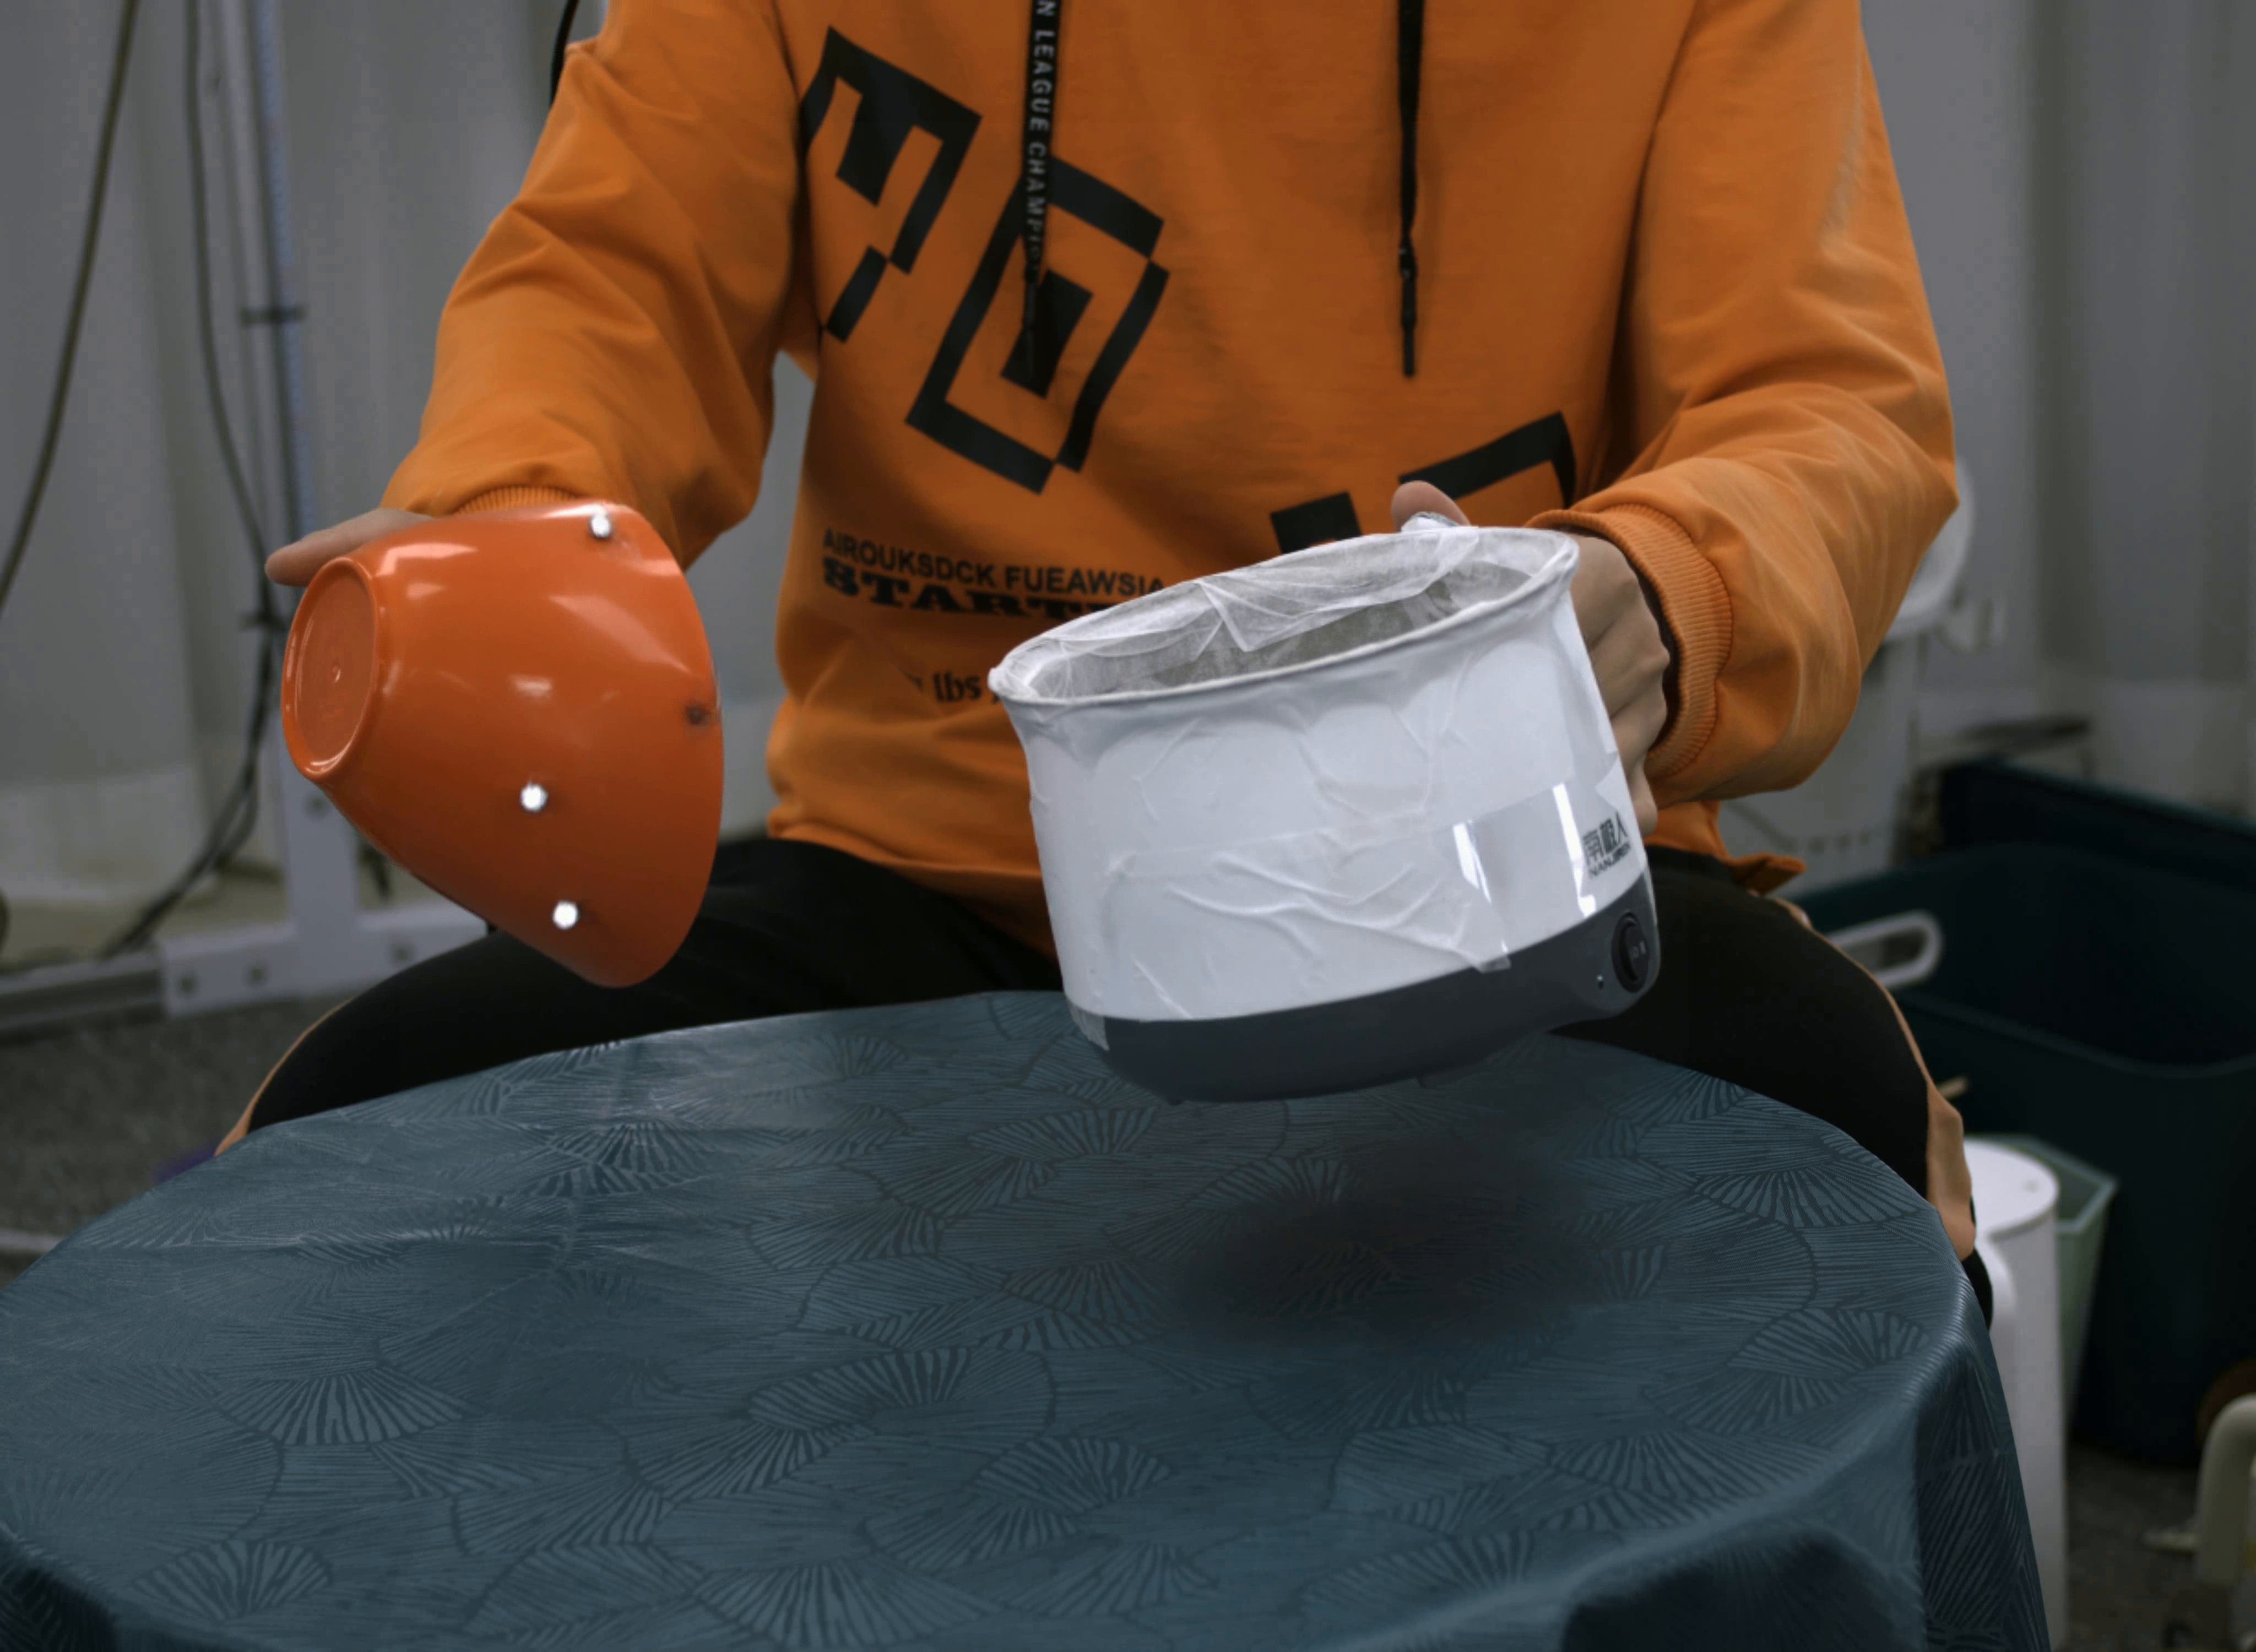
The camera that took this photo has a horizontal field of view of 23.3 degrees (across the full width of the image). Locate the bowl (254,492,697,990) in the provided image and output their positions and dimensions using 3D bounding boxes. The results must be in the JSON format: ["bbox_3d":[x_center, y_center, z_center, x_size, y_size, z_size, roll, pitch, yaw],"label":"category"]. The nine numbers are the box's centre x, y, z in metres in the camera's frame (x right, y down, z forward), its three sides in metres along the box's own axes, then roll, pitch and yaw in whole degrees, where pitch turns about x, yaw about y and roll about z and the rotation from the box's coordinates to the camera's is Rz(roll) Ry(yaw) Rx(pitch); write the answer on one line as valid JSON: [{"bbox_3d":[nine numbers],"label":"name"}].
[{"bbox_3d":[-0.201,-0.034,1.632,0.103,0.148,0.149,17,2,-33],"label":"bowl"}]

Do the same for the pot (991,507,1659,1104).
[{"bbox_3d":[0.071,-0.011,1.634,0.179,0.136,0.234,-6,14,29],"label":"pot"}]
